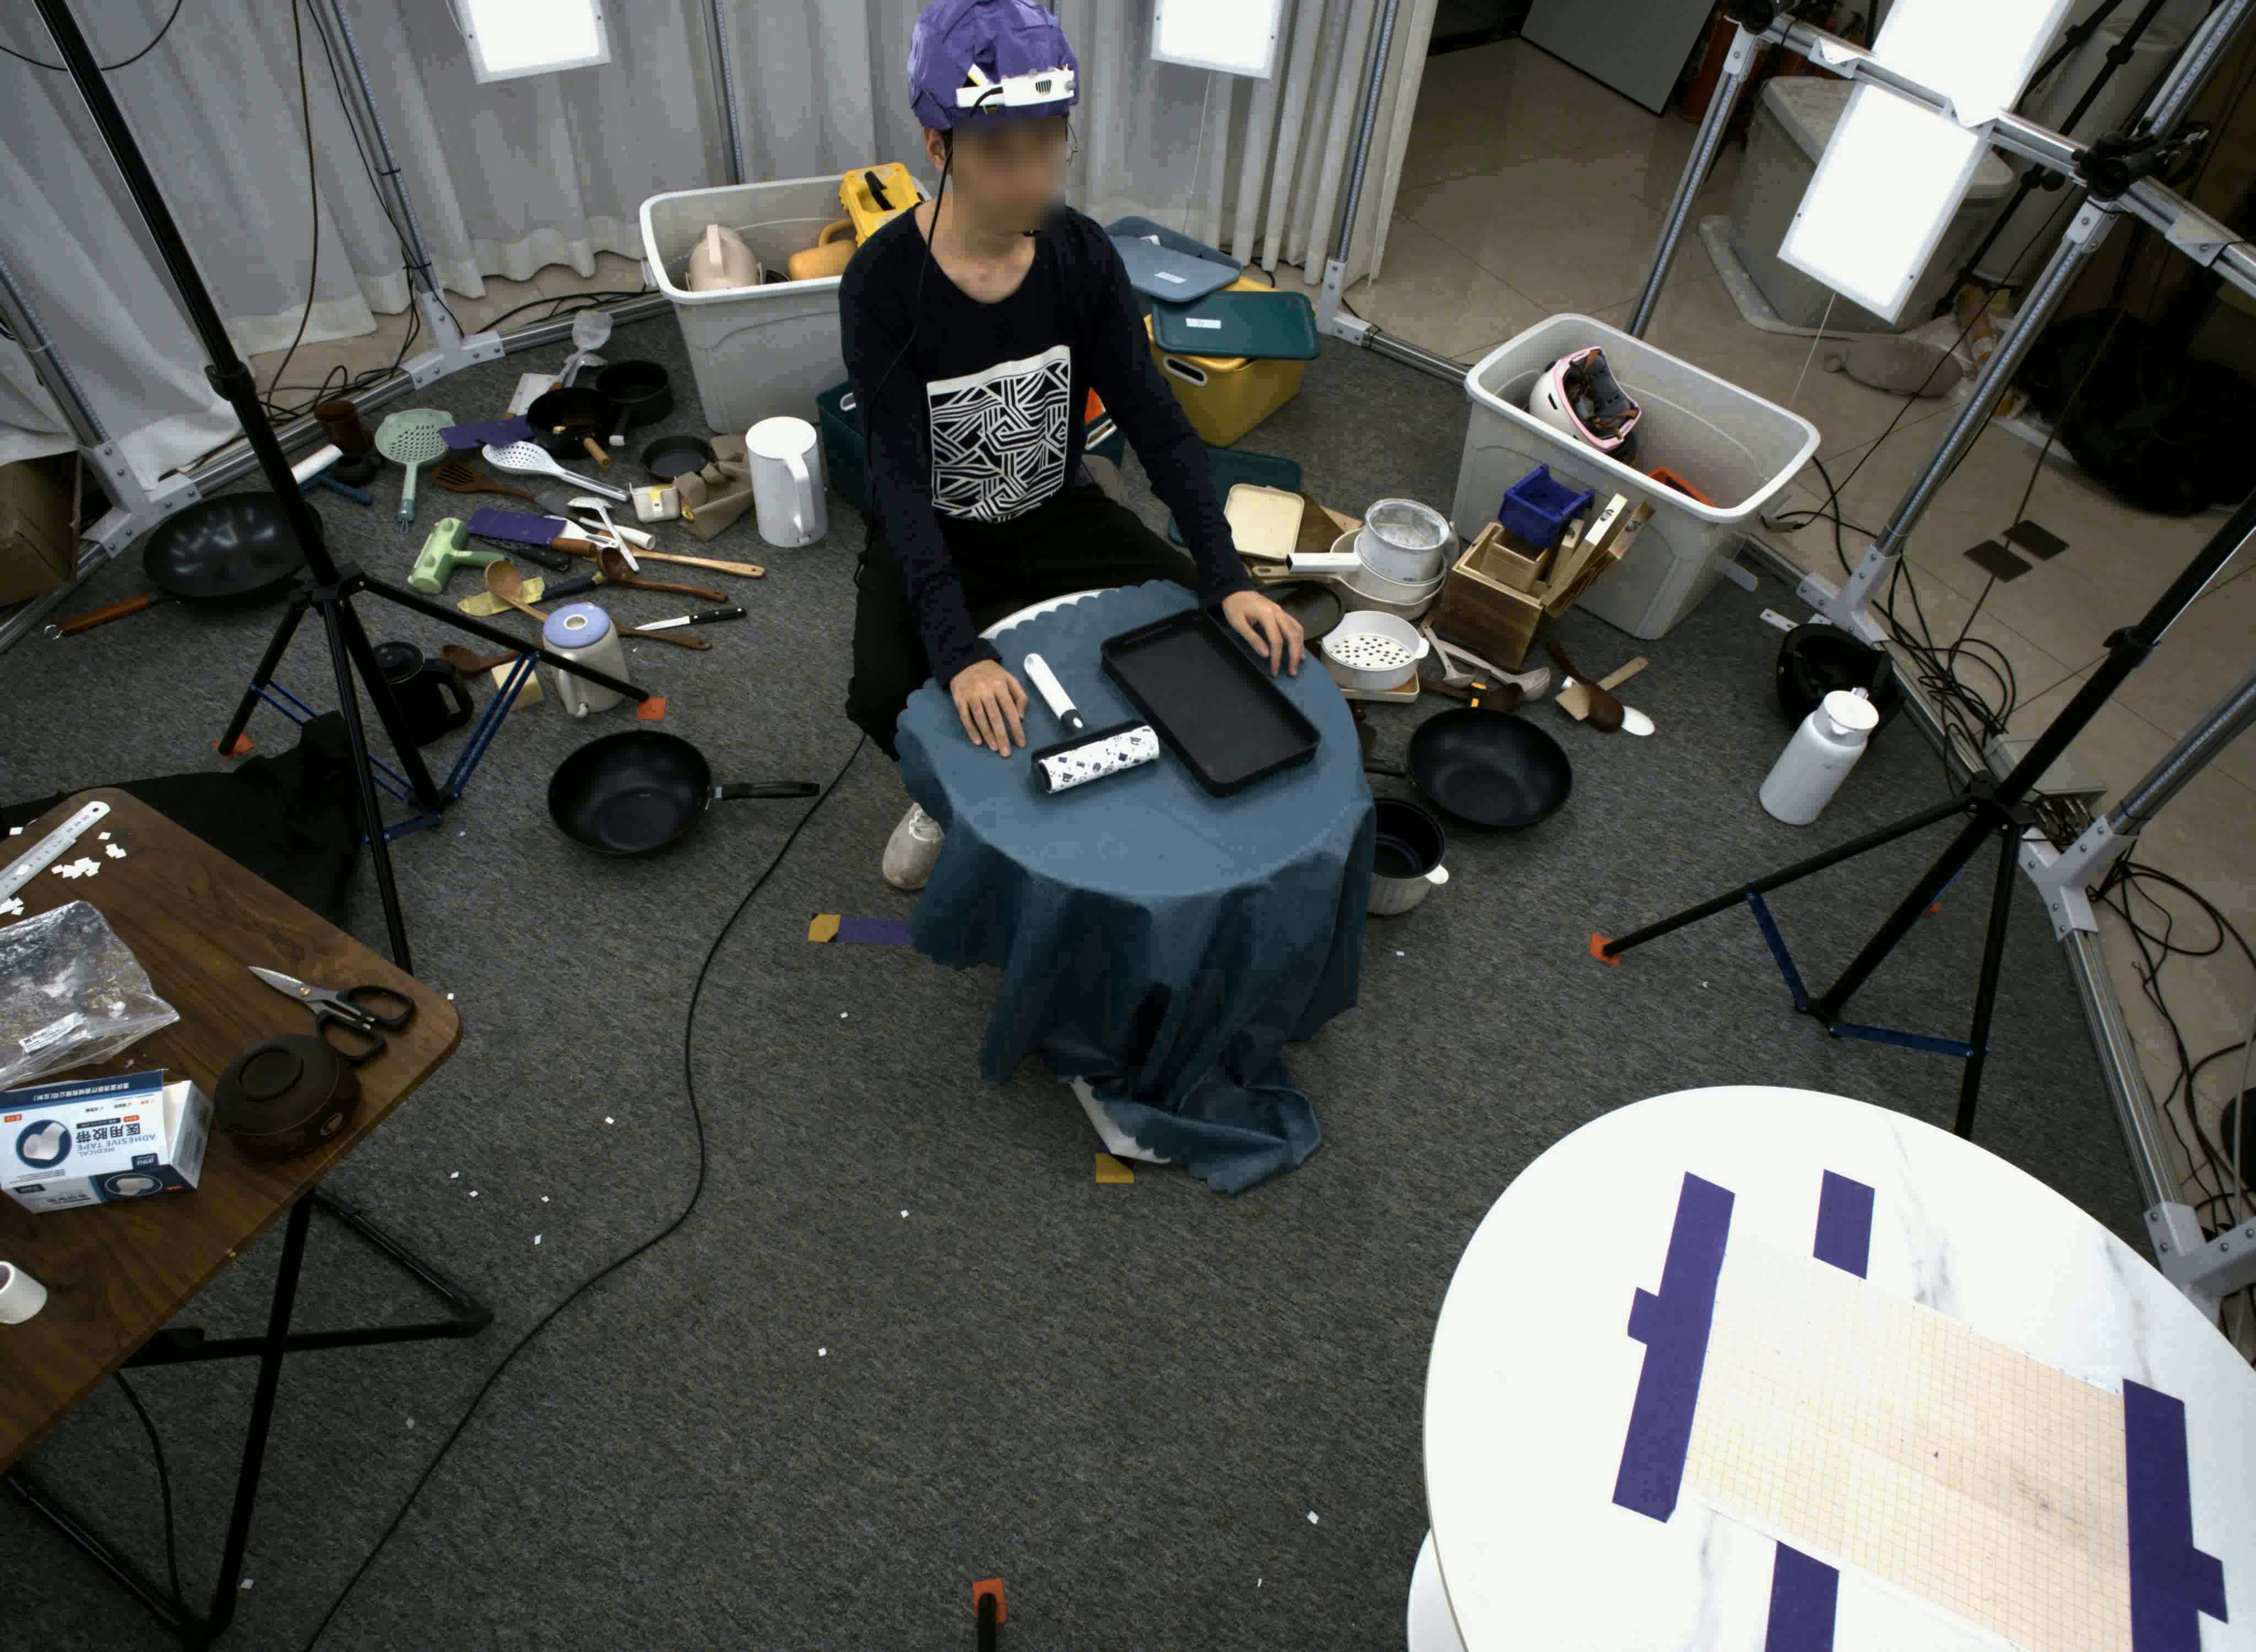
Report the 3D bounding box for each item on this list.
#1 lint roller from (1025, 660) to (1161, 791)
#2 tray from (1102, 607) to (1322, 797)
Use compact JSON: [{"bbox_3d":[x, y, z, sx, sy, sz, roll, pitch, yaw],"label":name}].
[{"bbox_3d":[-0.087,-0.158,1.773,0.176,0.049,0.252,-20,50,-19],"label":"lint roller"},{"bbox_3d":[0.112,-0.181,1.809,0.185,0.036,0.324,-22,54,-22],"label":"tray"}]
